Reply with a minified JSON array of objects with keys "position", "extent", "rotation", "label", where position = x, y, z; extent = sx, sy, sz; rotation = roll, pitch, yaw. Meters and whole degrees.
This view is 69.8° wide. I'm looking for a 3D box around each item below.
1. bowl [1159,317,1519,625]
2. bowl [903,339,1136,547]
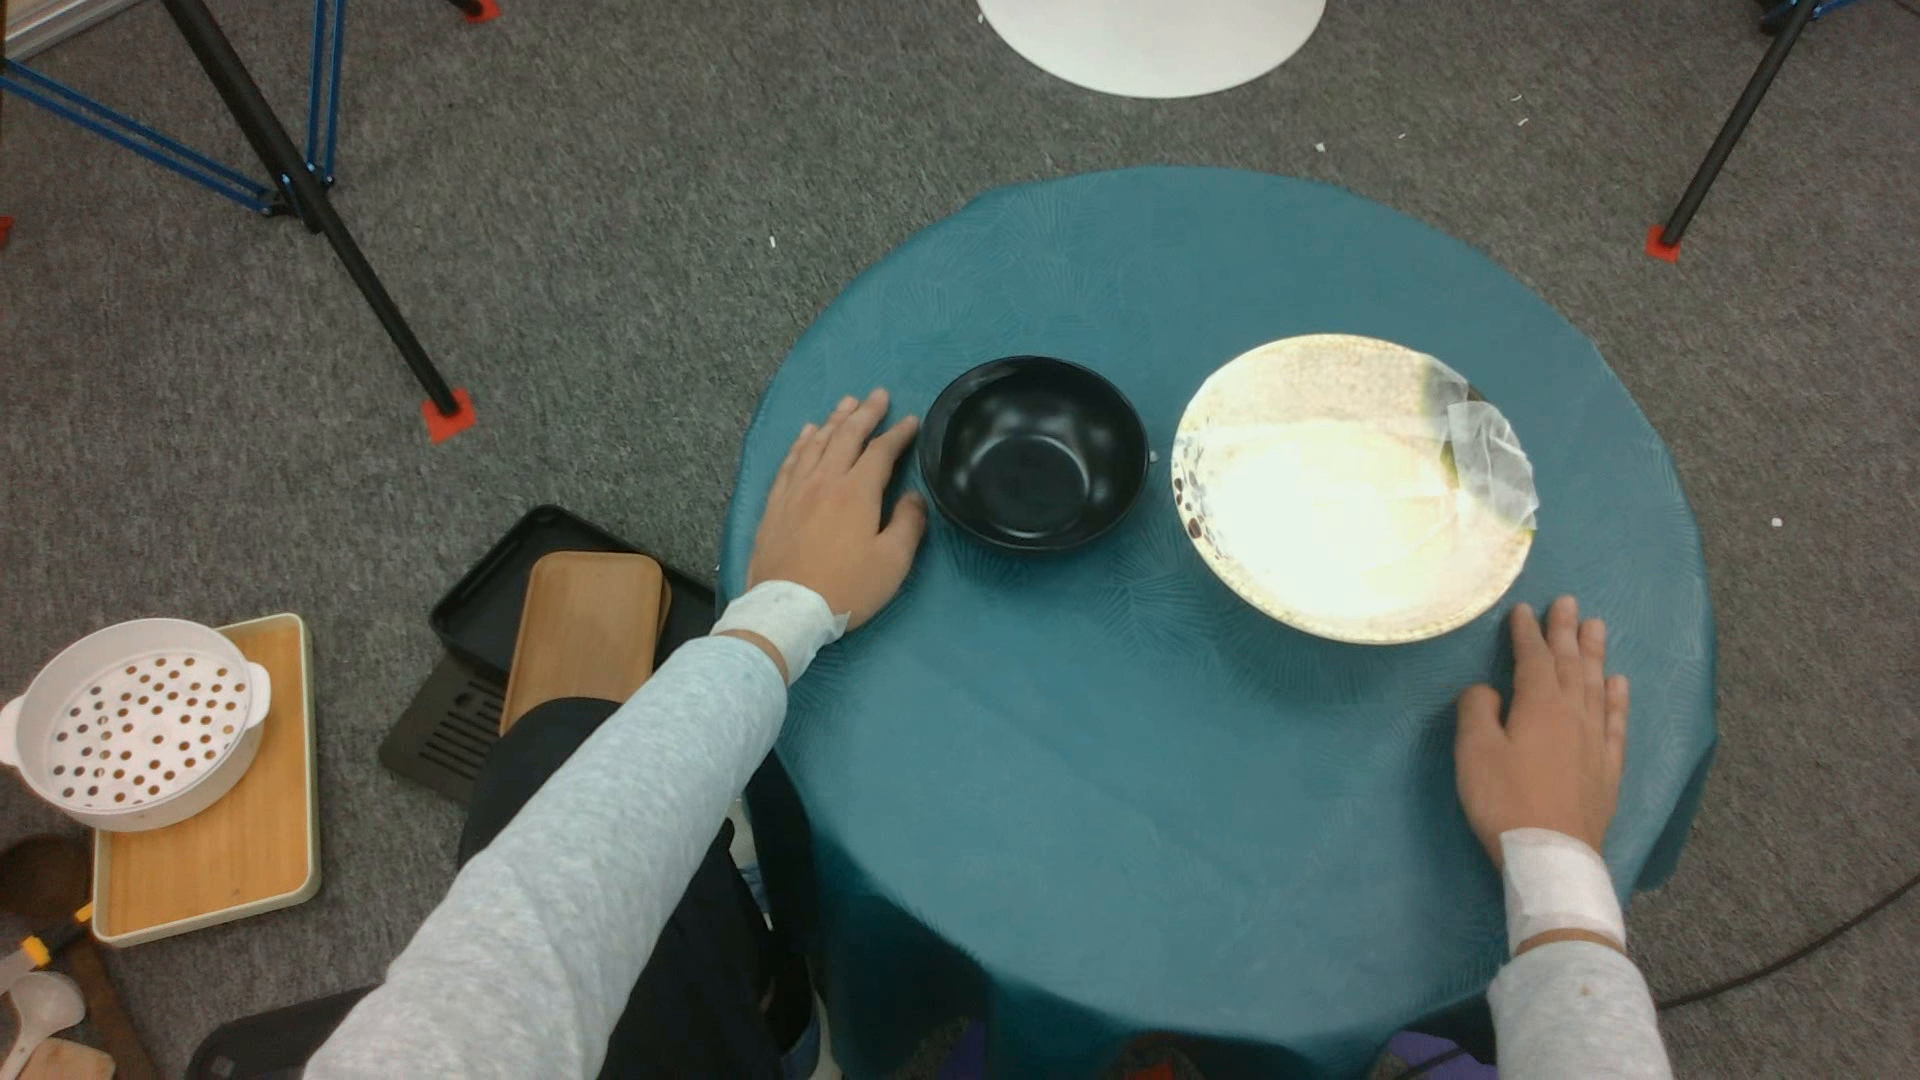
[{"position":[0.215,-0.029,0.815],"extent":[0.204,0.077,0.205],"rotation":[0,62,0],"label":"bowl"},{"position":[0.036,-0.052,0.840],"extent":[0.140,0.049,0.140],"rotation":[0,64,1],"label":"bowl"}]
